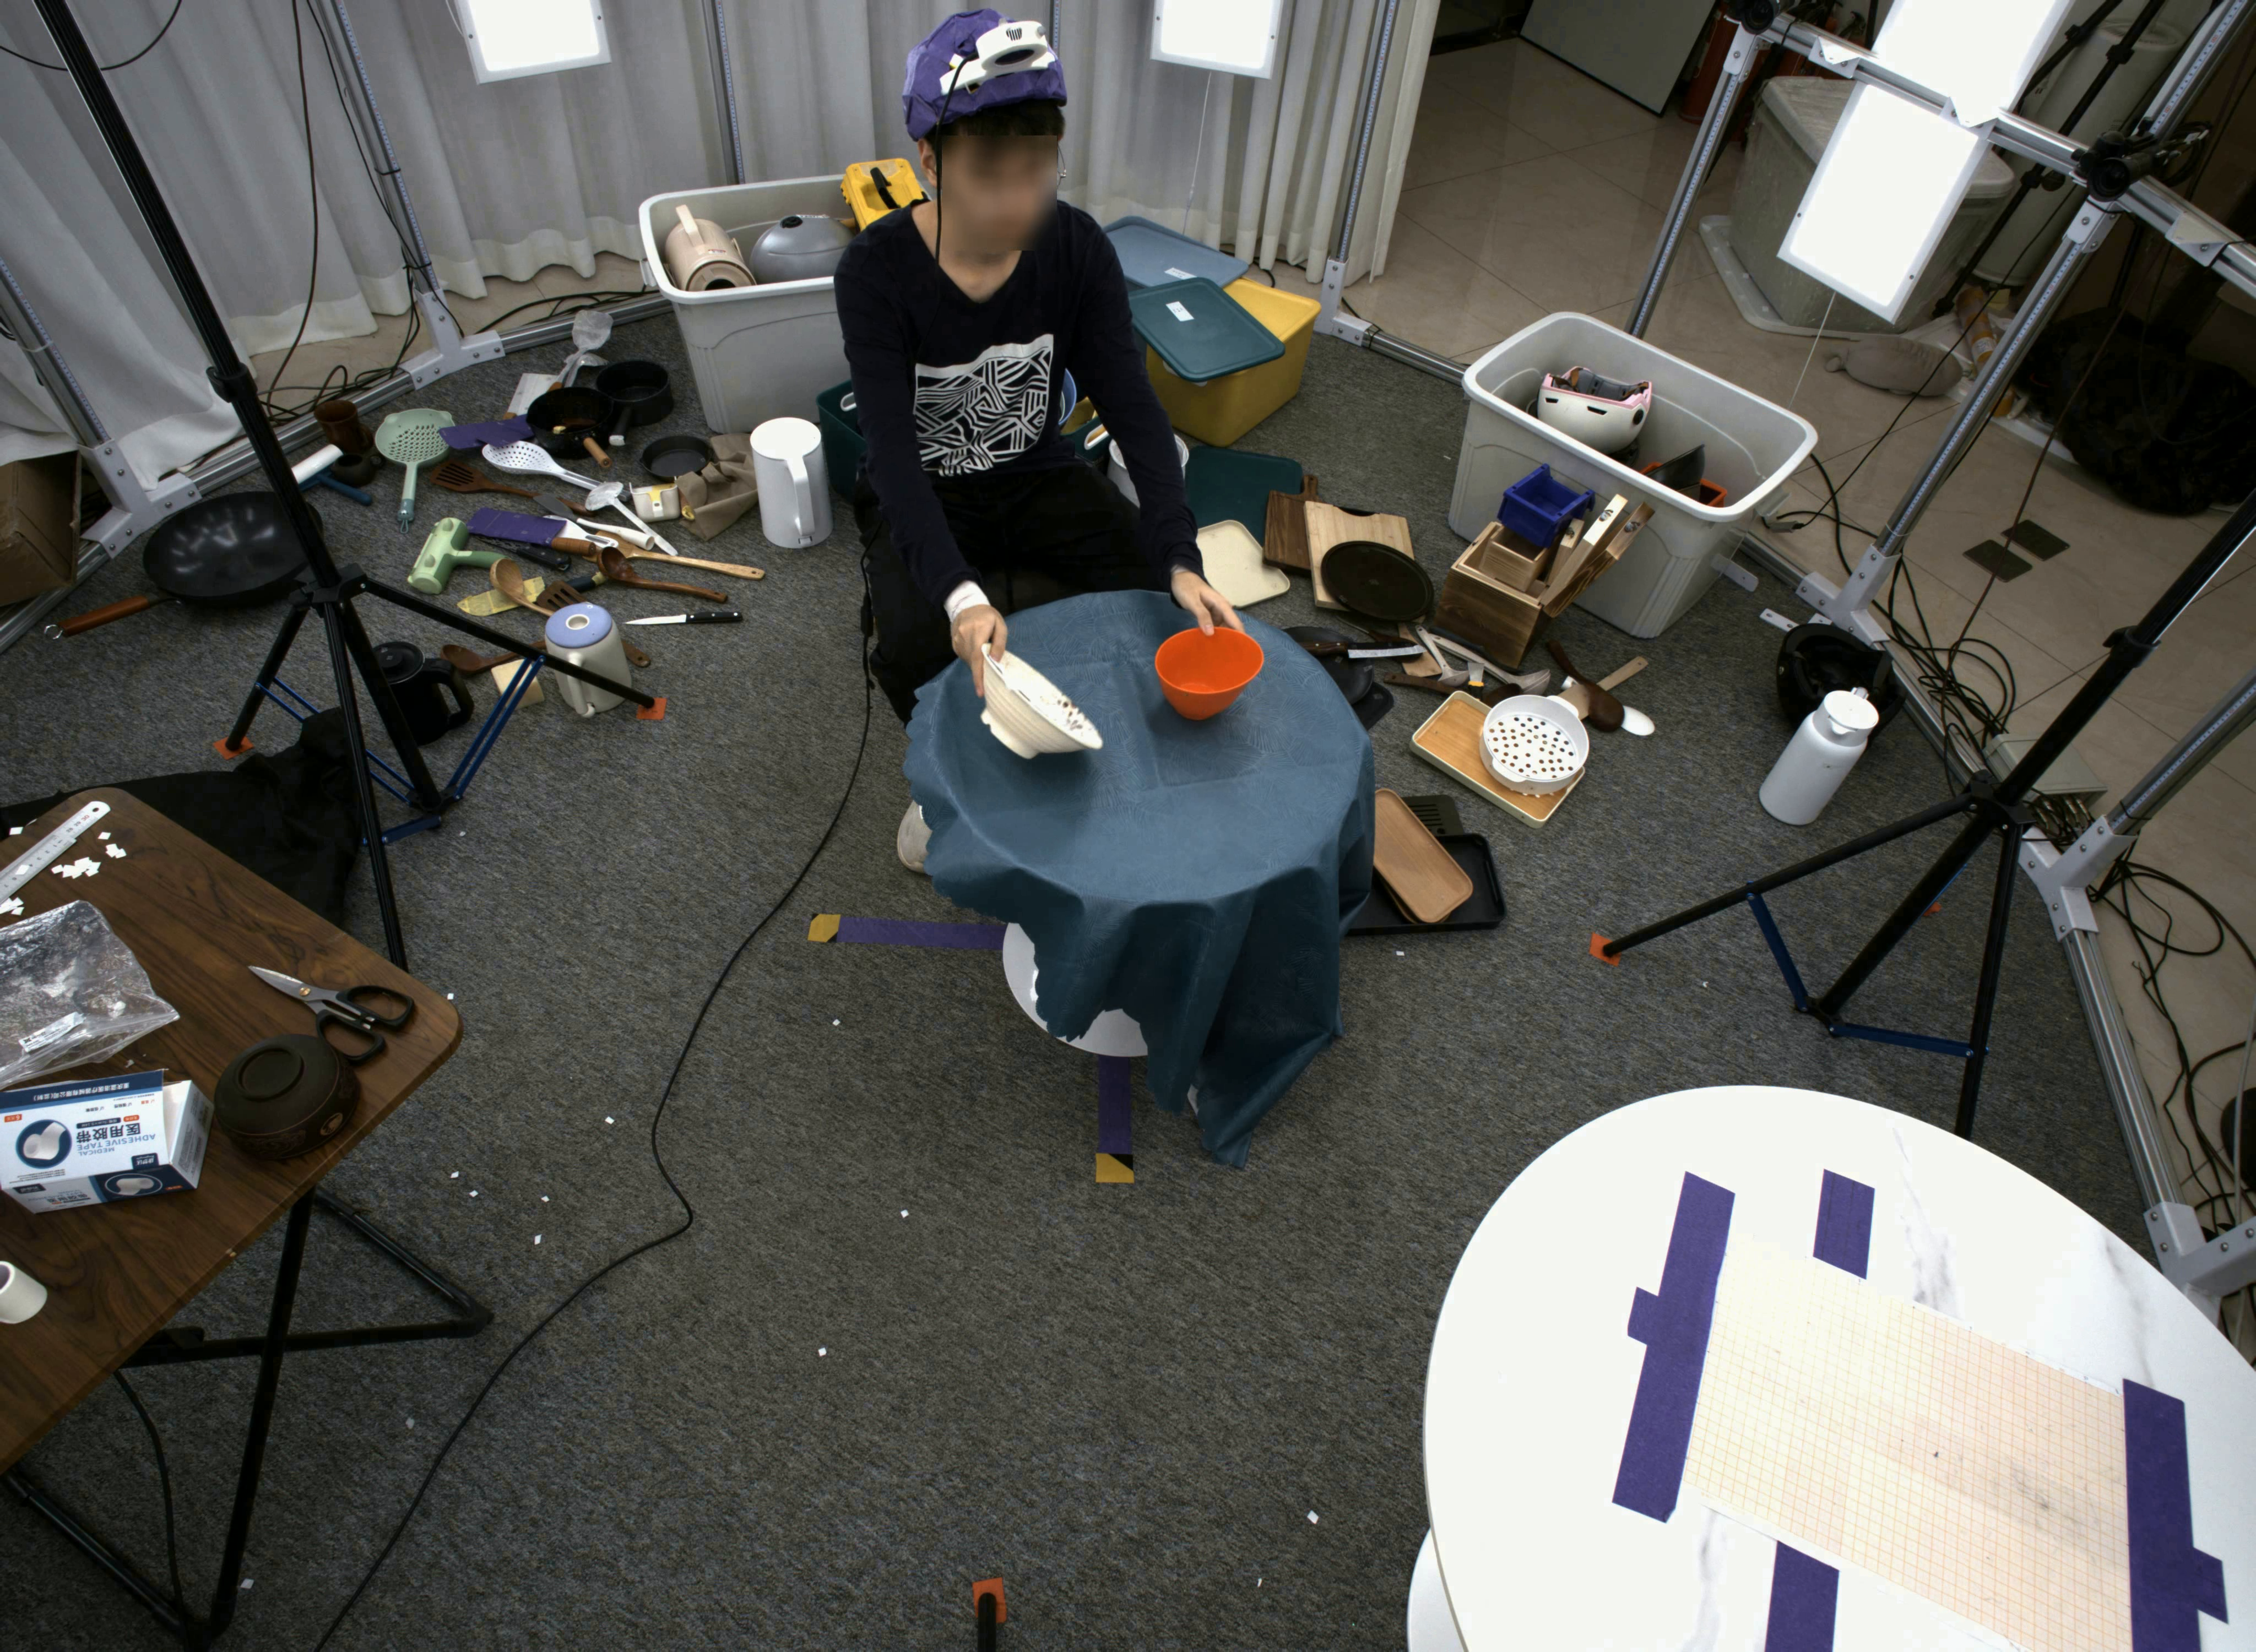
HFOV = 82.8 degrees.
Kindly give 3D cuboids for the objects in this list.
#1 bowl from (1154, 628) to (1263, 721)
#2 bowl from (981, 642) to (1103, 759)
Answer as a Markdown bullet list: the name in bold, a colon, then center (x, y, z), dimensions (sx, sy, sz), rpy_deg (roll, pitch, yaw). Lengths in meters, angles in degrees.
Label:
- **bowl**: center (0.108, -0.201, 1.784), dimensions (0.148, 0.102, 0.152), rpy_deg (1, 48, -1)
- **bowl**: center (-0.133, -0.145, 1.680), dimensions (0.077, 0.201, 0.208), rpy_deg (-49, 58, 14)
